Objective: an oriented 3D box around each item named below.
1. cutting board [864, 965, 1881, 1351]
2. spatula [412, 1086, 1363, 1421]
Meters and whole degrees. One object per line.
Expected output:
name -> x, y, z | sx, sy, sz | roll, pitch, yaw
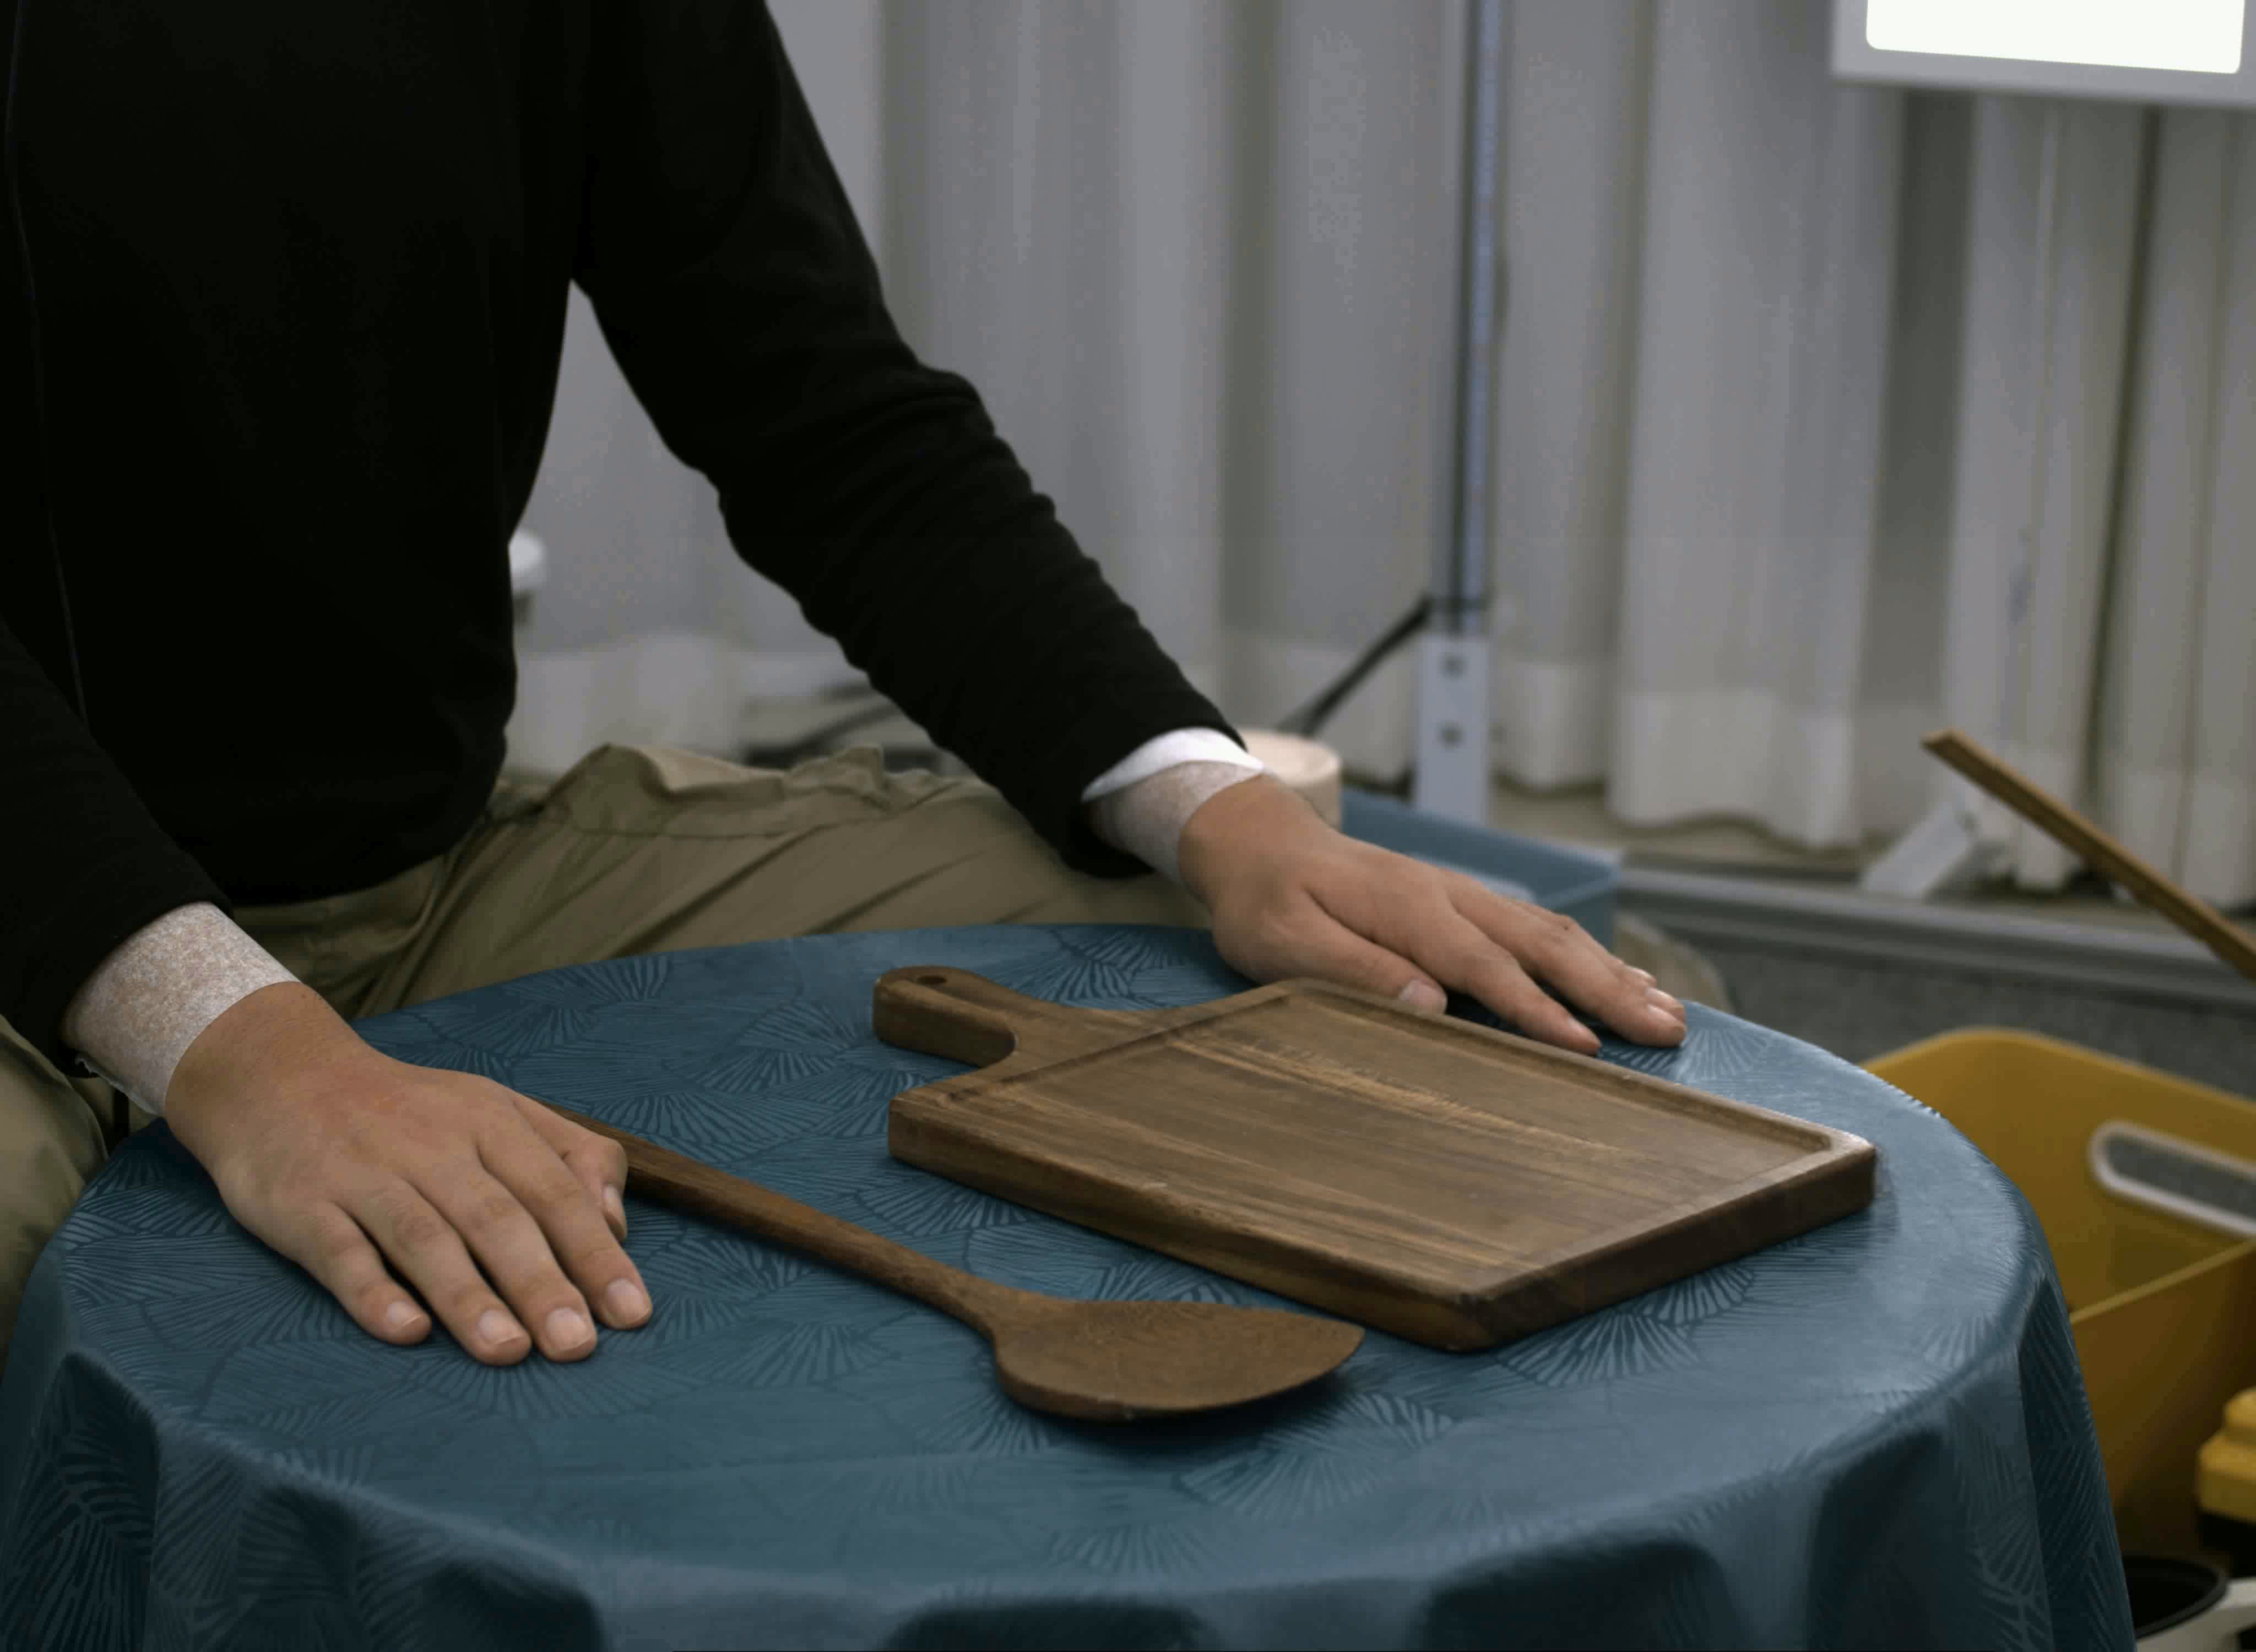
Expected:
cutting board -> 0.043, 0.090, 1.664 | 0.347, 0.023, 0.202 | 15, 21, 42
spatula -> -0.092, 0.121, 1.559 | 0.381, 0.016, 0.096 | 15, 21, 43
